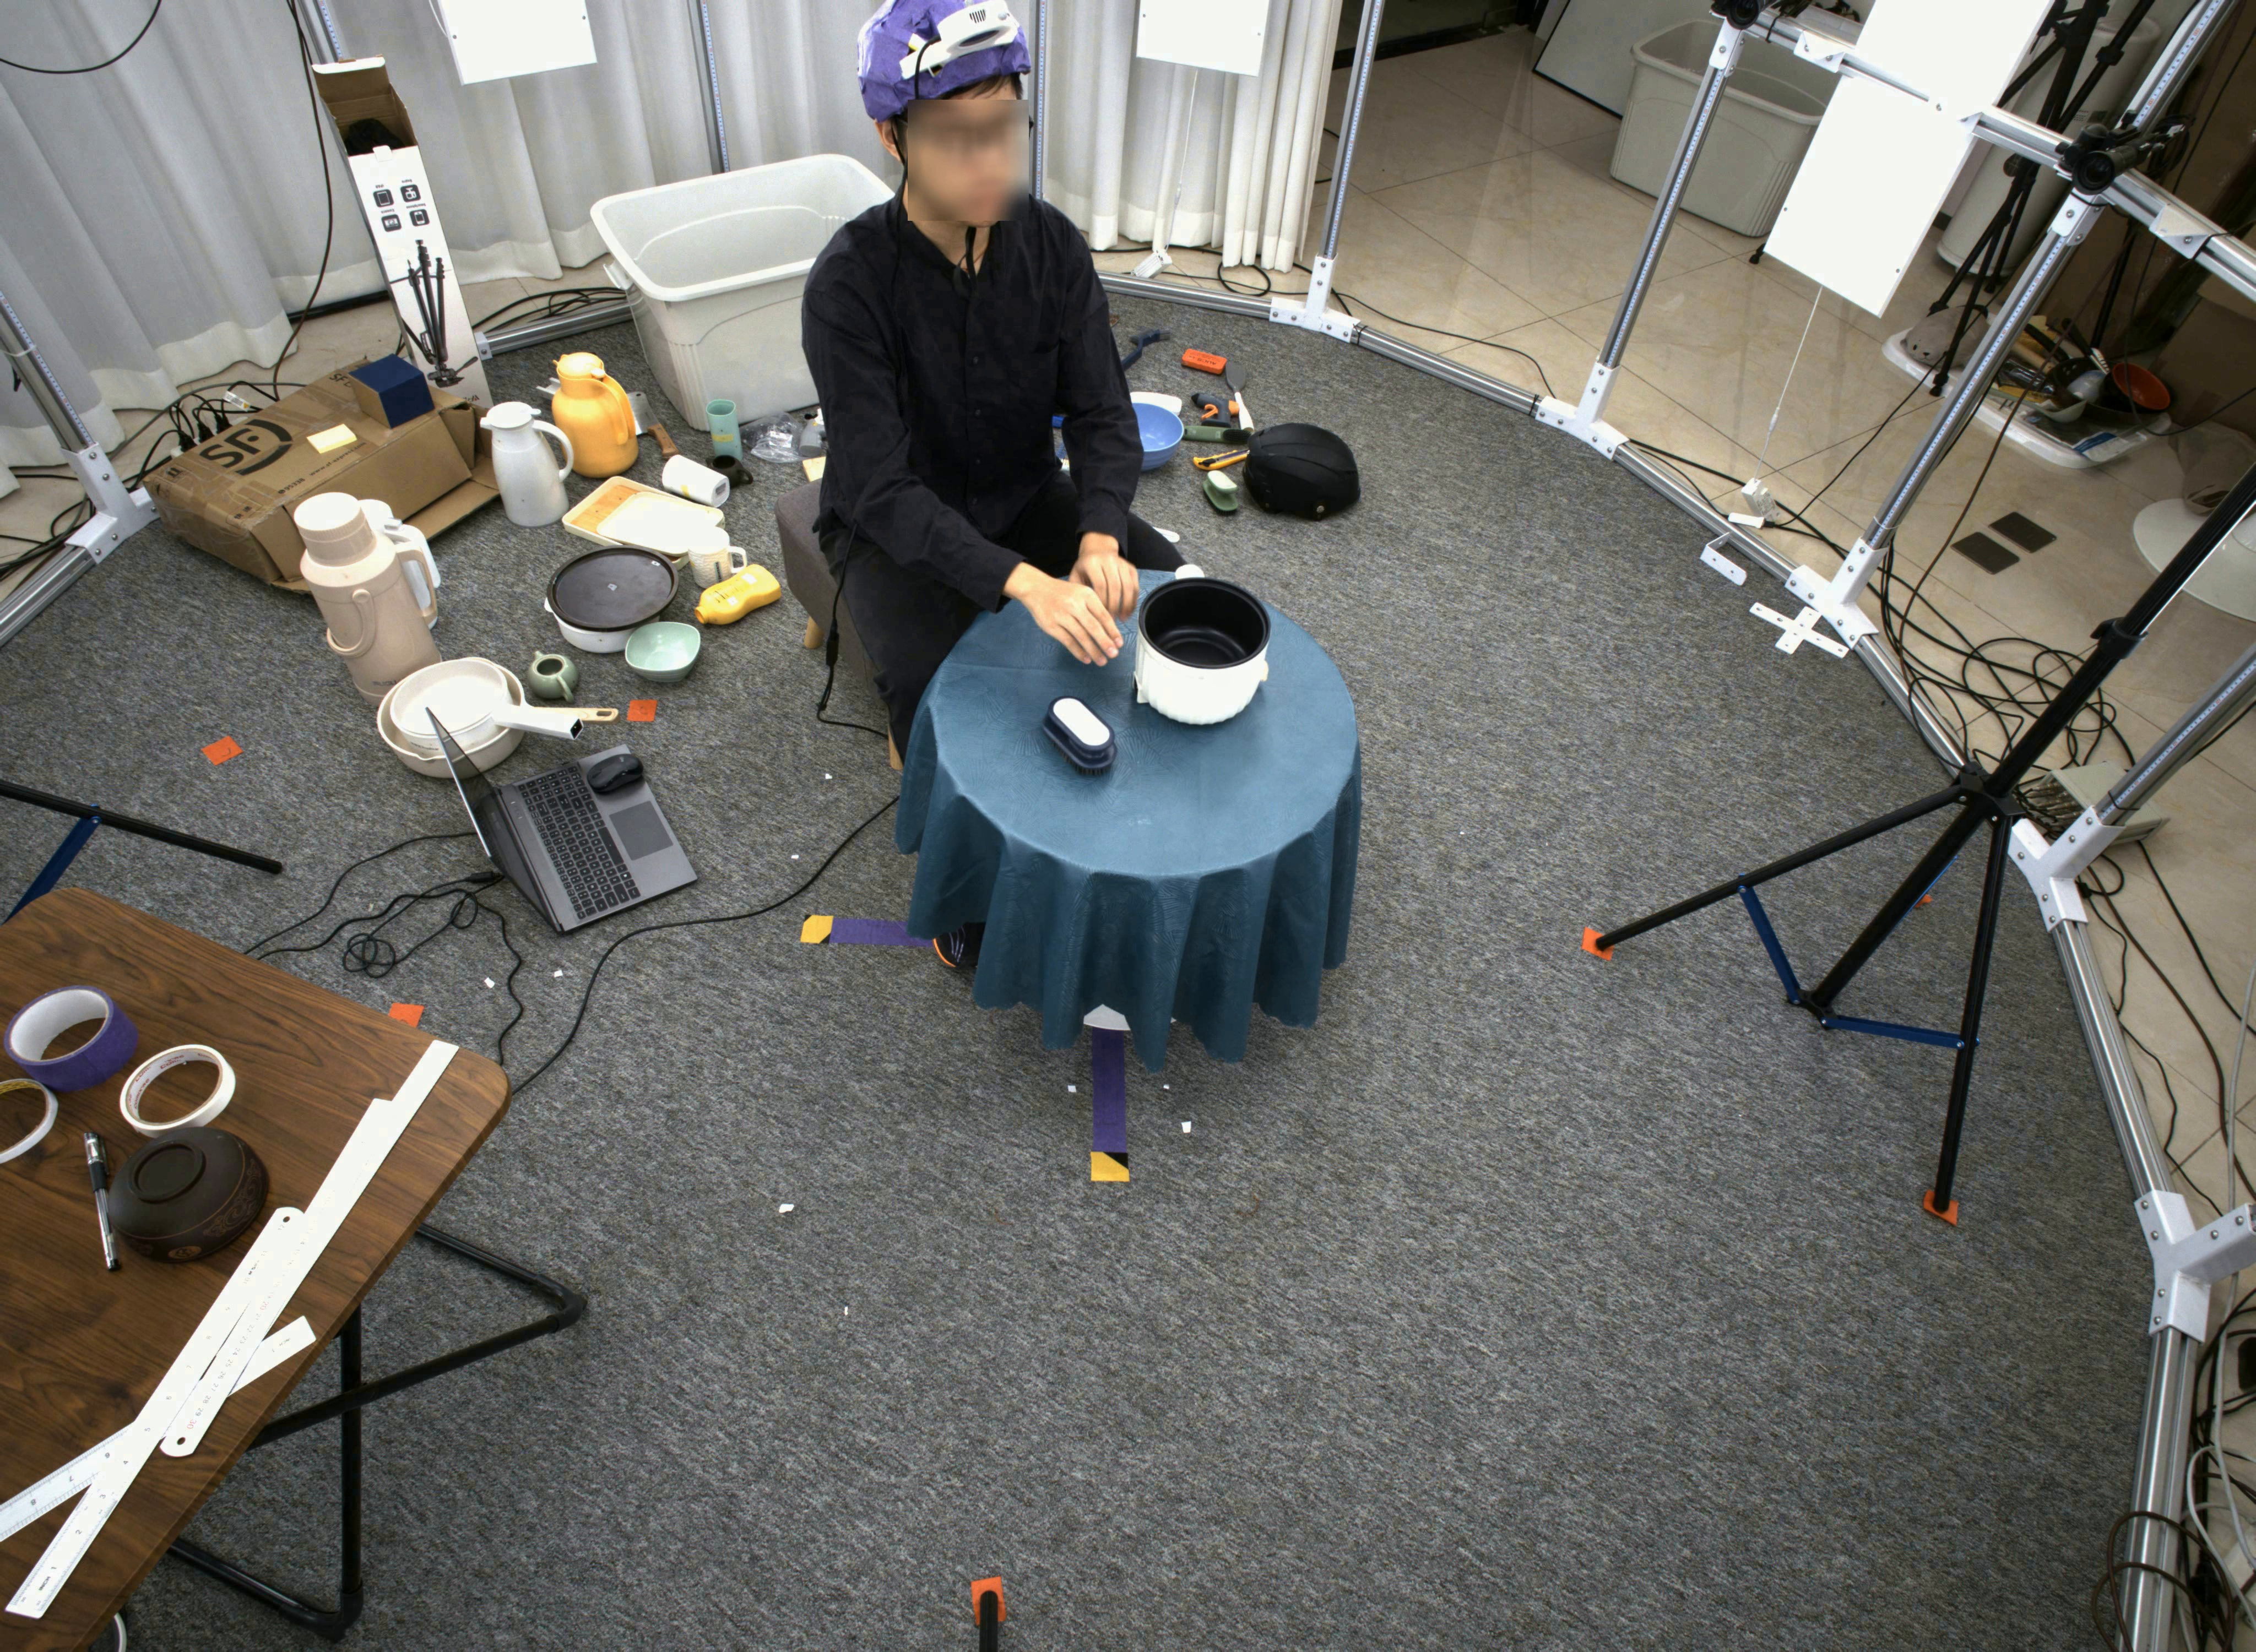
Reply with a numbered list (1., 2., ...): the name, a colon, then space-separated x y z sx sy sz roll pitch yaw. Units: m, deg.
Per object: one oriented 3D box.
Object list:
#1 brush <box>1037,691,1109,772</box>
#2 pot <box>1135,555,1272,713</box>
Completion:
1. brush: -0.075 -0.126 1.740 0.068 0.060 0.124 -27 60 -21
2. pot: 0.108 -0.256 1.800 0.190 0.139 0.246 -8 52 -8
